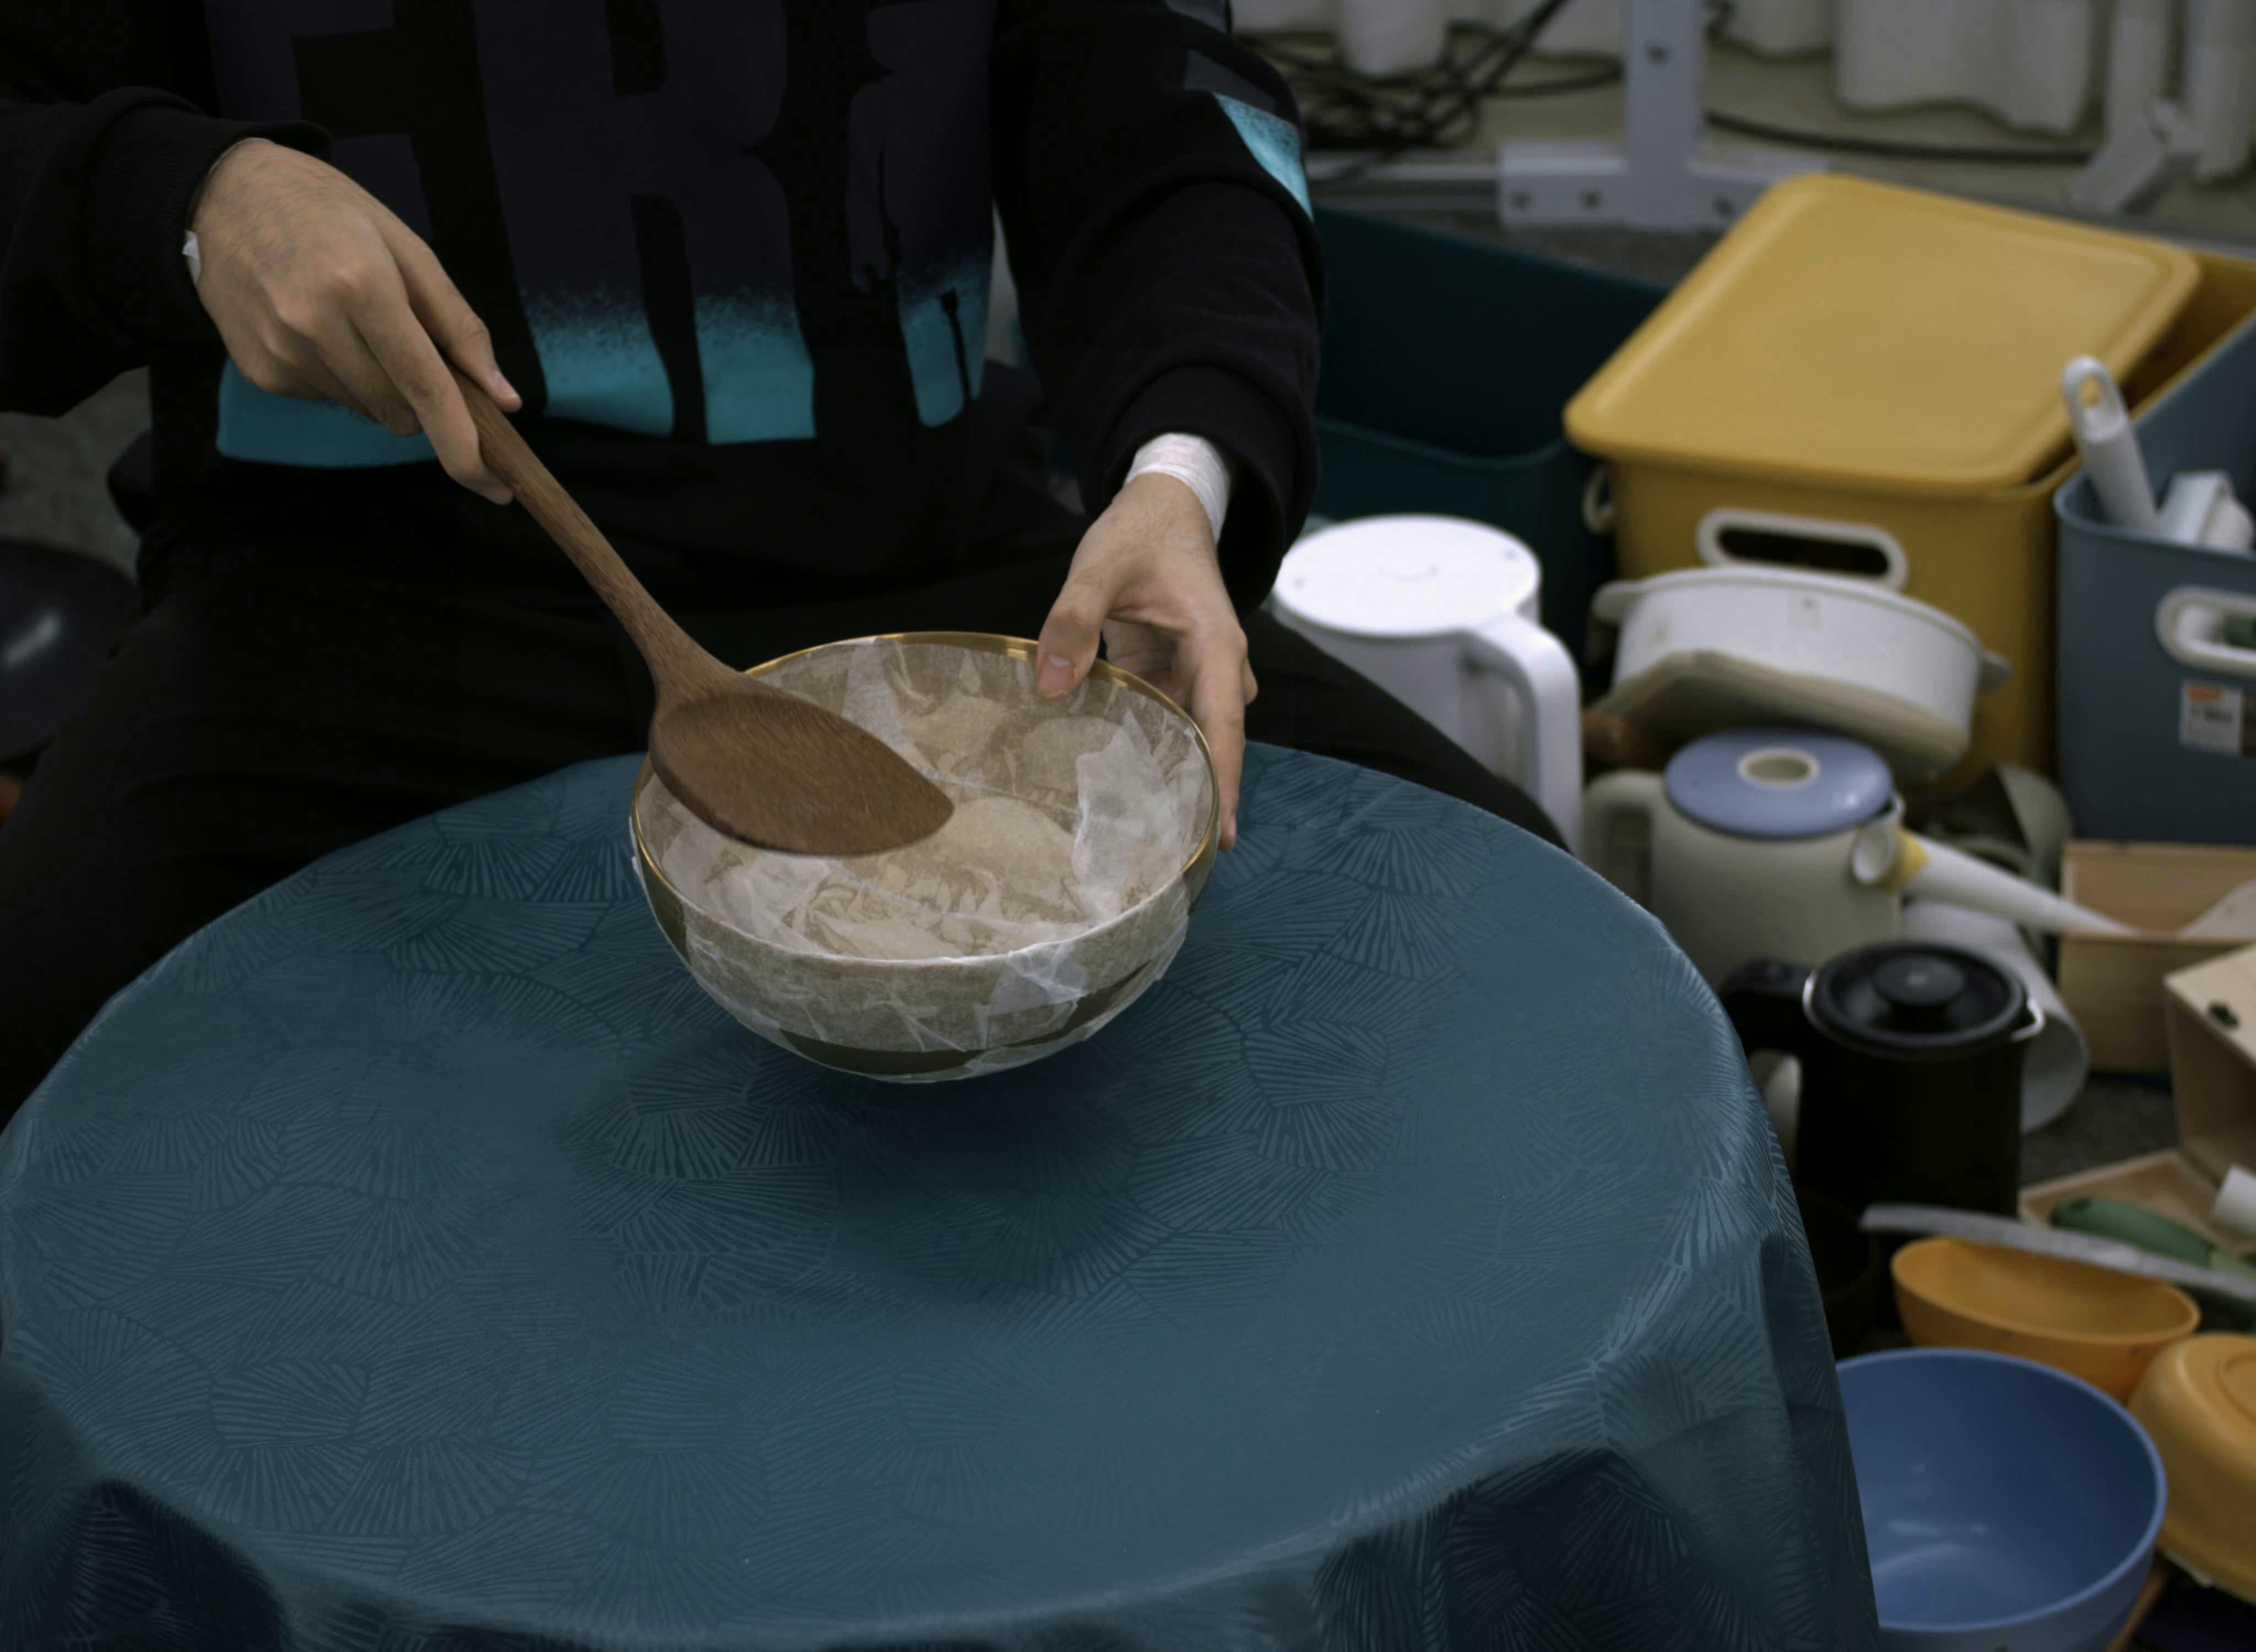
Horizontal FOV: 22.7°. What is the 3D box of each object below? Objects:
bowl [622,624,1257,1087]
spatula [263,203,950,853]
[{"bbox_3d":[-0.064,0.024,1.911,0.213,0.093,0.218,-1,32,1],"label":"bowl"},{"bbox_3d":[-0.196,-0.109,1.934,0.097,0.015,0.389,-8,43,-41],"label":"spatula"}]
